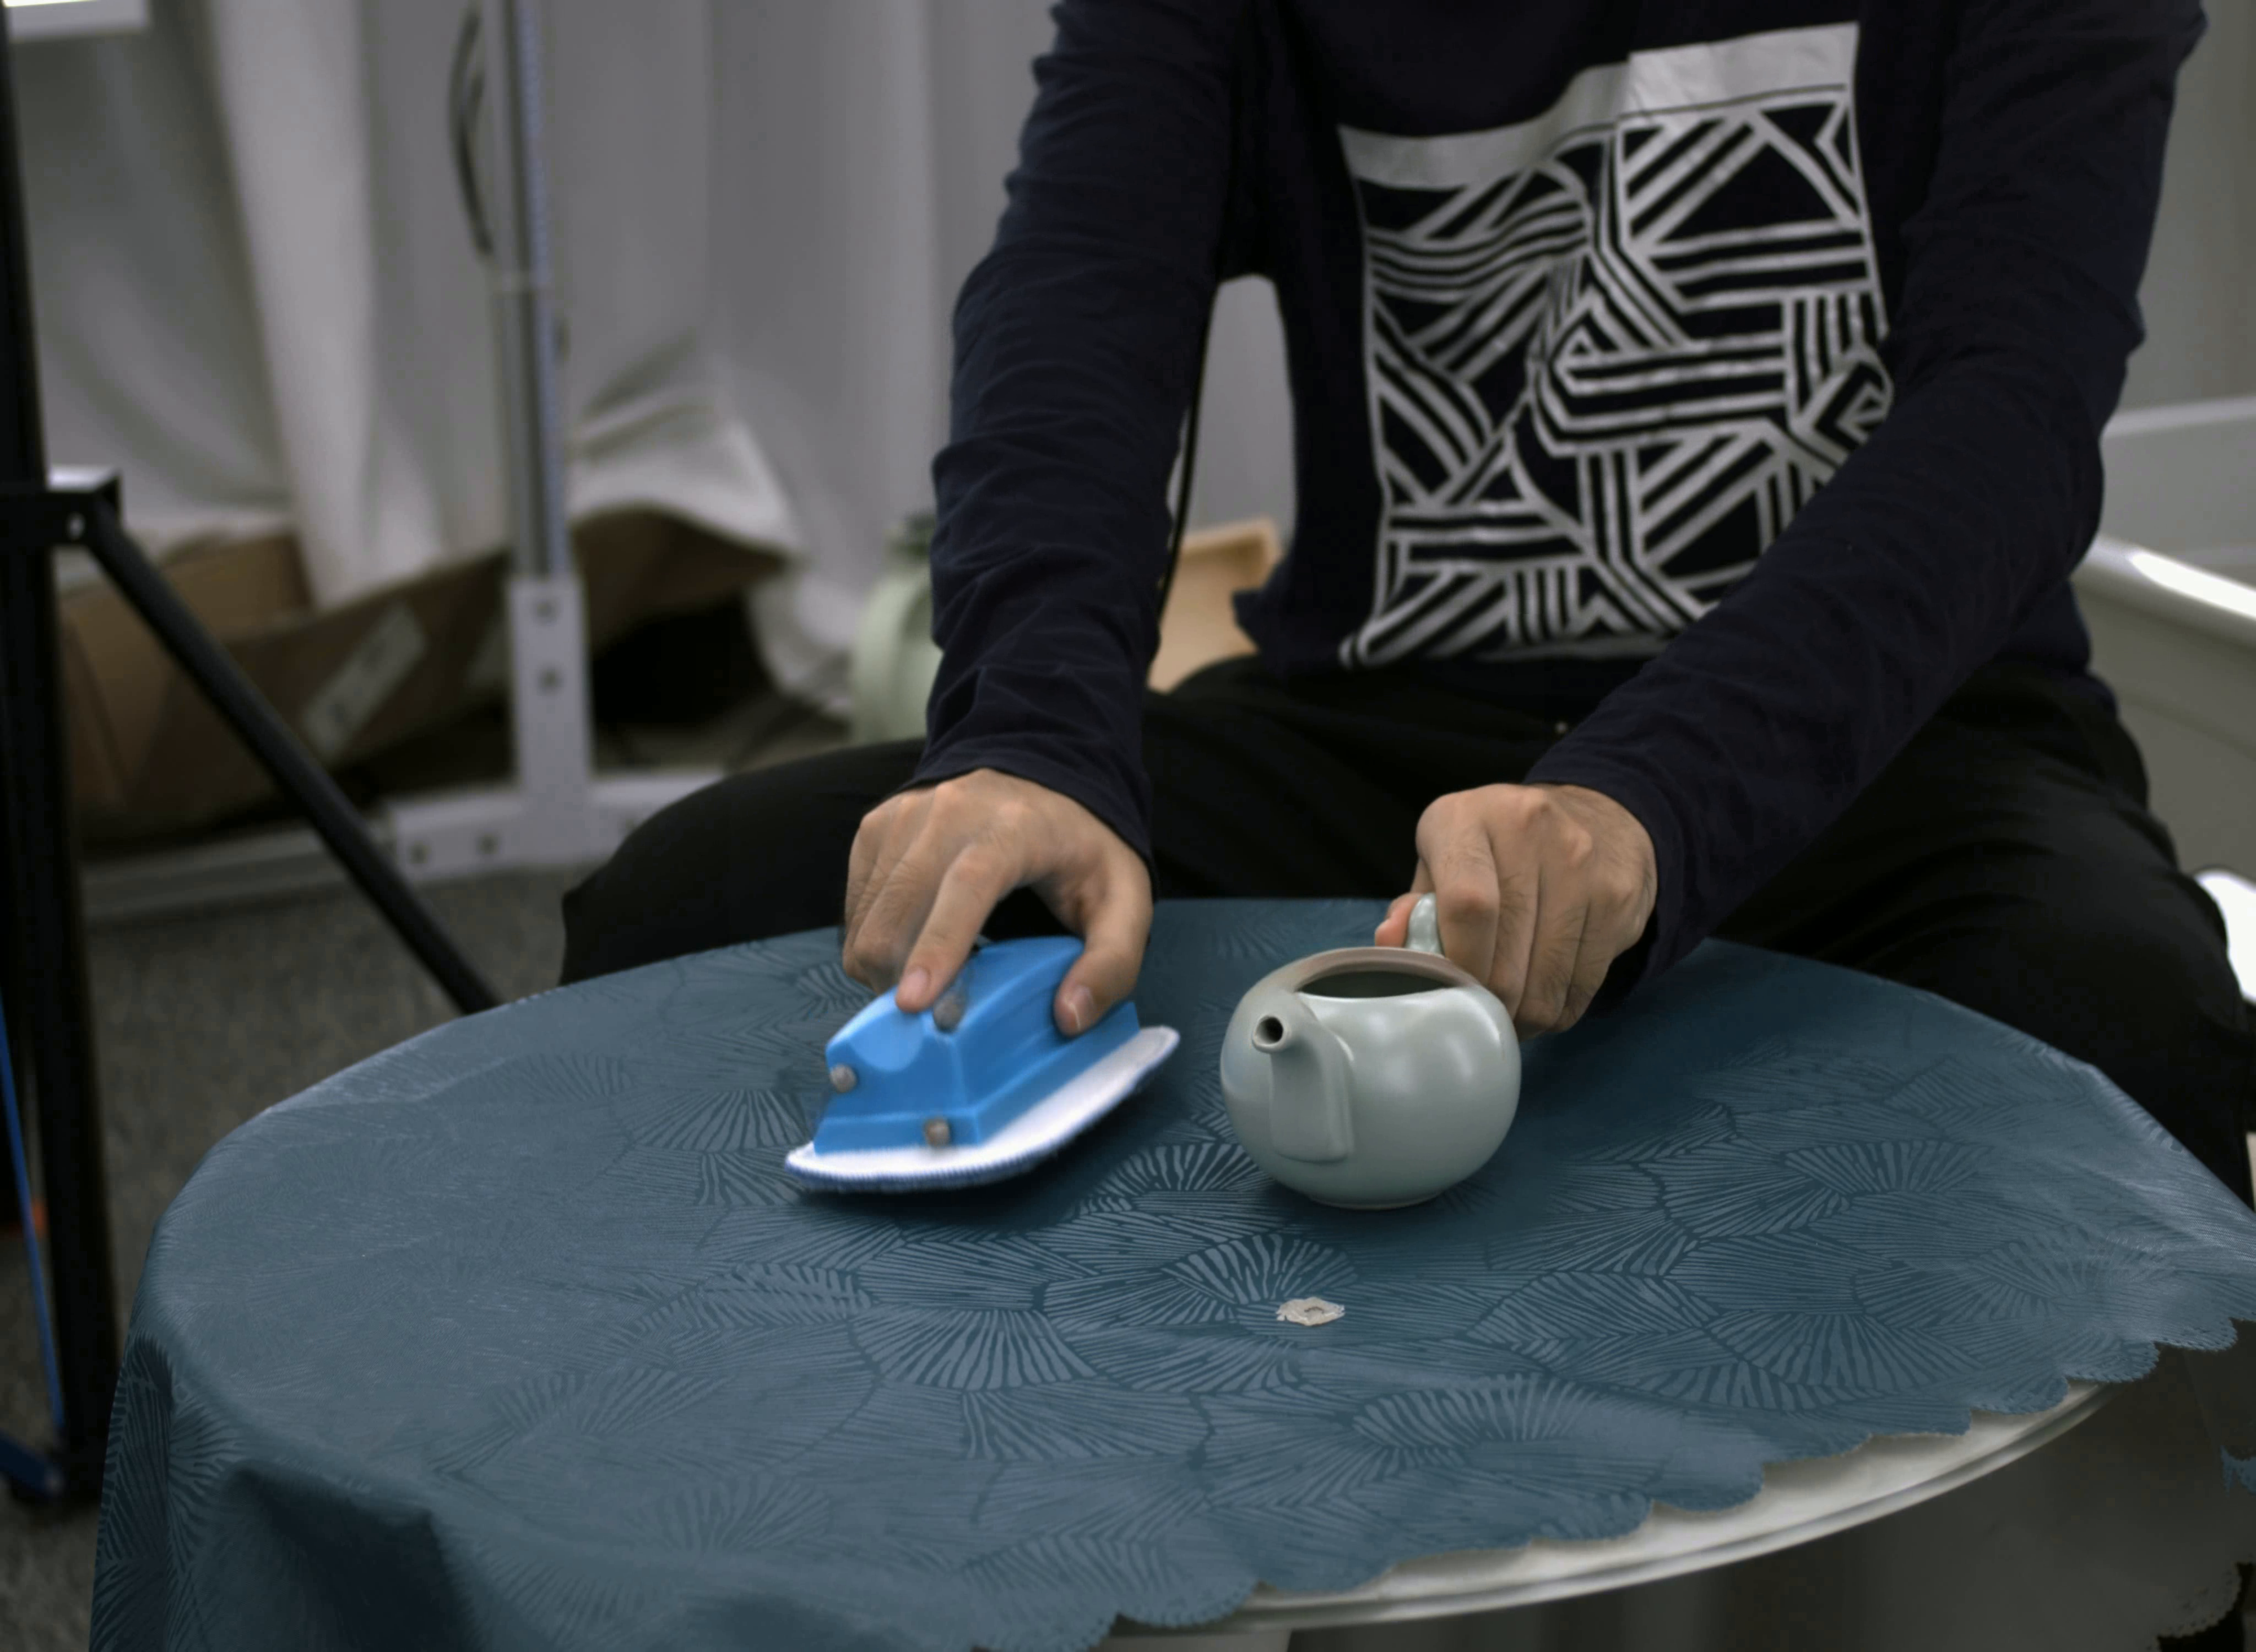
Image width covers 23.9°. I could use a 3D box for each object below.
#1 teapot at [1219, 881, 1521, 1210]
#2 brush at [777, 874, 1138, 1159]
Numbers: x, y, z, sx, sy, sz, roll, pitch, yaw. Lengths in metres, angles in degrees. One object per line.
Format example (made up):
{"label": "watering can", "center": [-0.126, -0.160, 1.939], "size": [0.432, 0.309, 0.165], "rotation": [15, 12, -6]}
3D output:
{"label": "teapot", "center": [0.071, 0.071, 1.547], "size": [0.090, 0.074, 0.141], "rotation": [6, 20, 29]}
{"label": "brush", "center": [-0.050, 0.054, 1.603], "size": [0.084, 0.056, 0.143], "rotation": [2, 19, 15]}
